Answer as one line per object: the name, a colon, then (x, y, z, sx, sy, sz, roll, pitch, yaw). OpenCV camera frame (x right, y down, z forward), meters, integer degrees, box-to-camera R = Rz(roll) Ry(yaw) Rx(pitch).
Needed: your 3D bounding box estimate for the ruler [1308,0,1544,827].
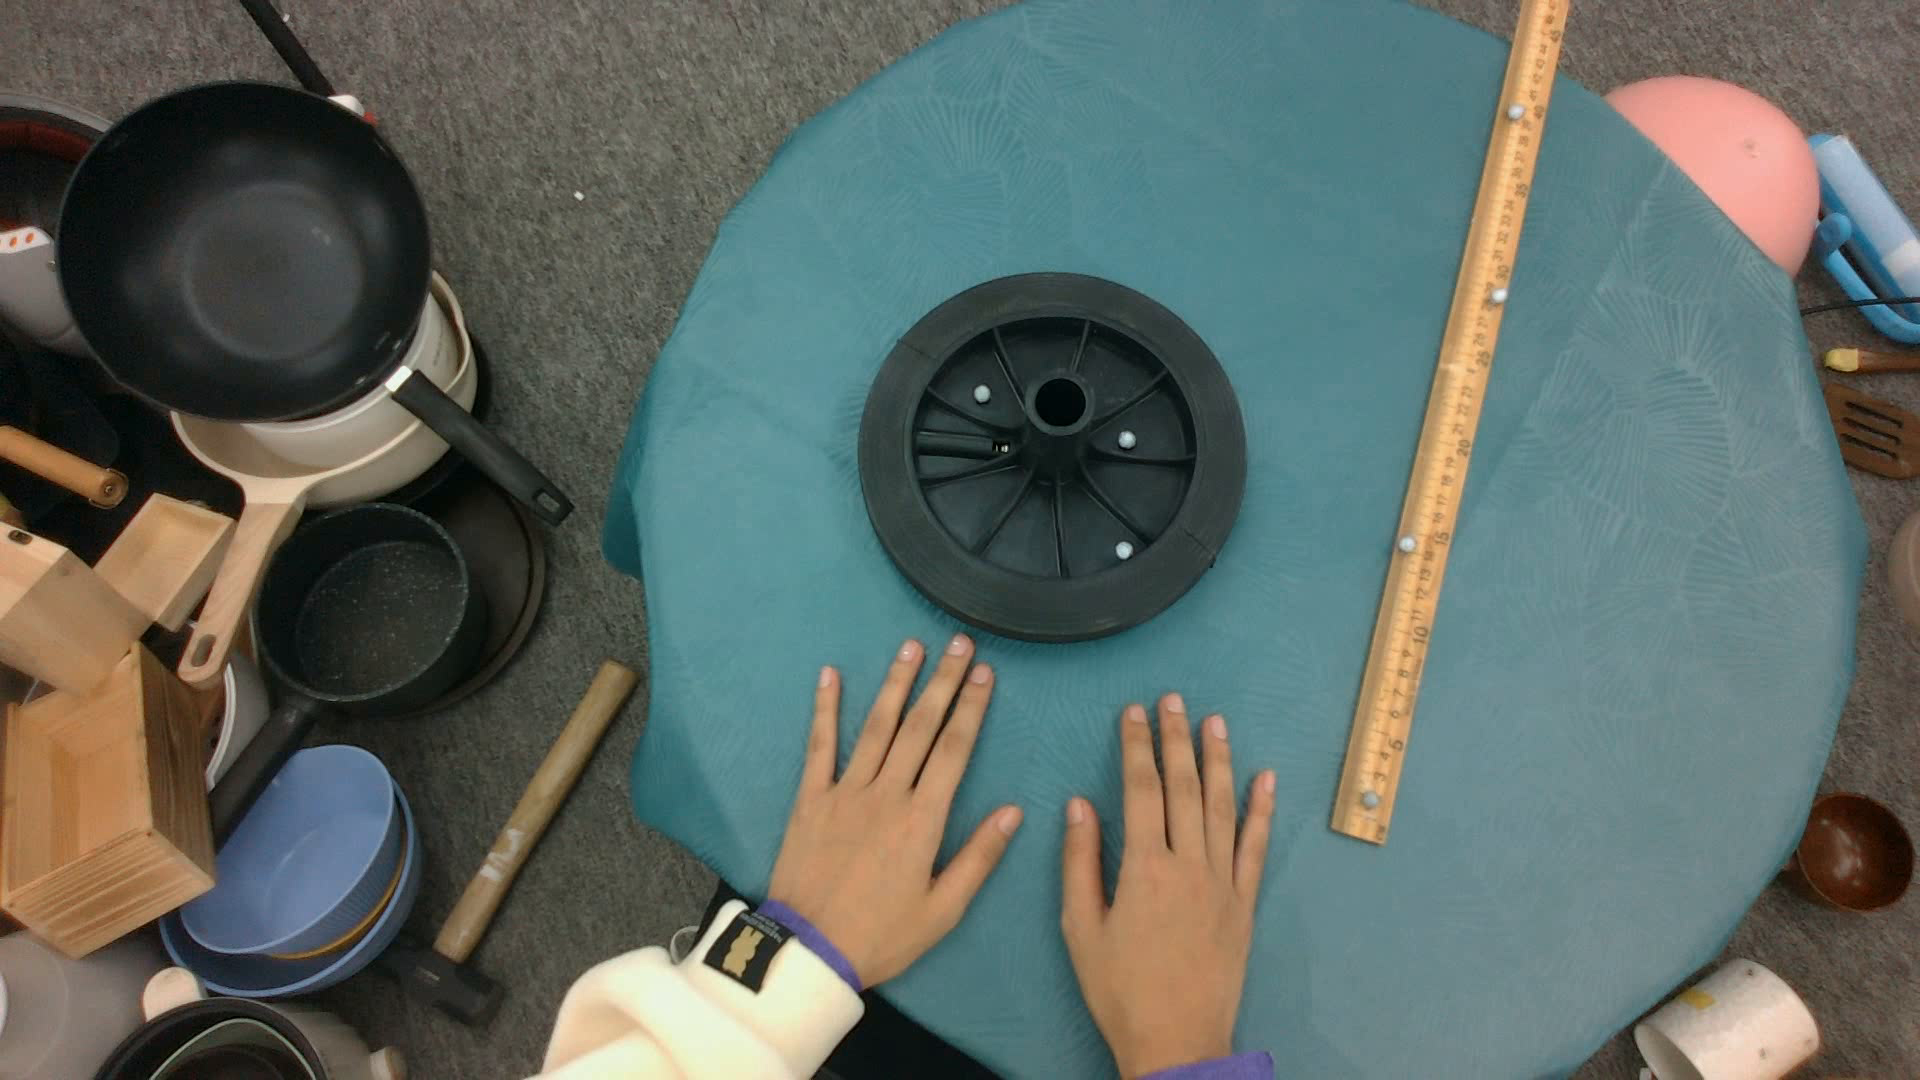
ruler: (0.246, -0.099, 0.703, 0.027, 0.006, 0.502, 17, 73, 3)

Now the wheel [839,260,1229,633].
wheel: (0.036, -0.054, 0.648, 0.190, 0.079, 0.188, -17, 74, -5)
